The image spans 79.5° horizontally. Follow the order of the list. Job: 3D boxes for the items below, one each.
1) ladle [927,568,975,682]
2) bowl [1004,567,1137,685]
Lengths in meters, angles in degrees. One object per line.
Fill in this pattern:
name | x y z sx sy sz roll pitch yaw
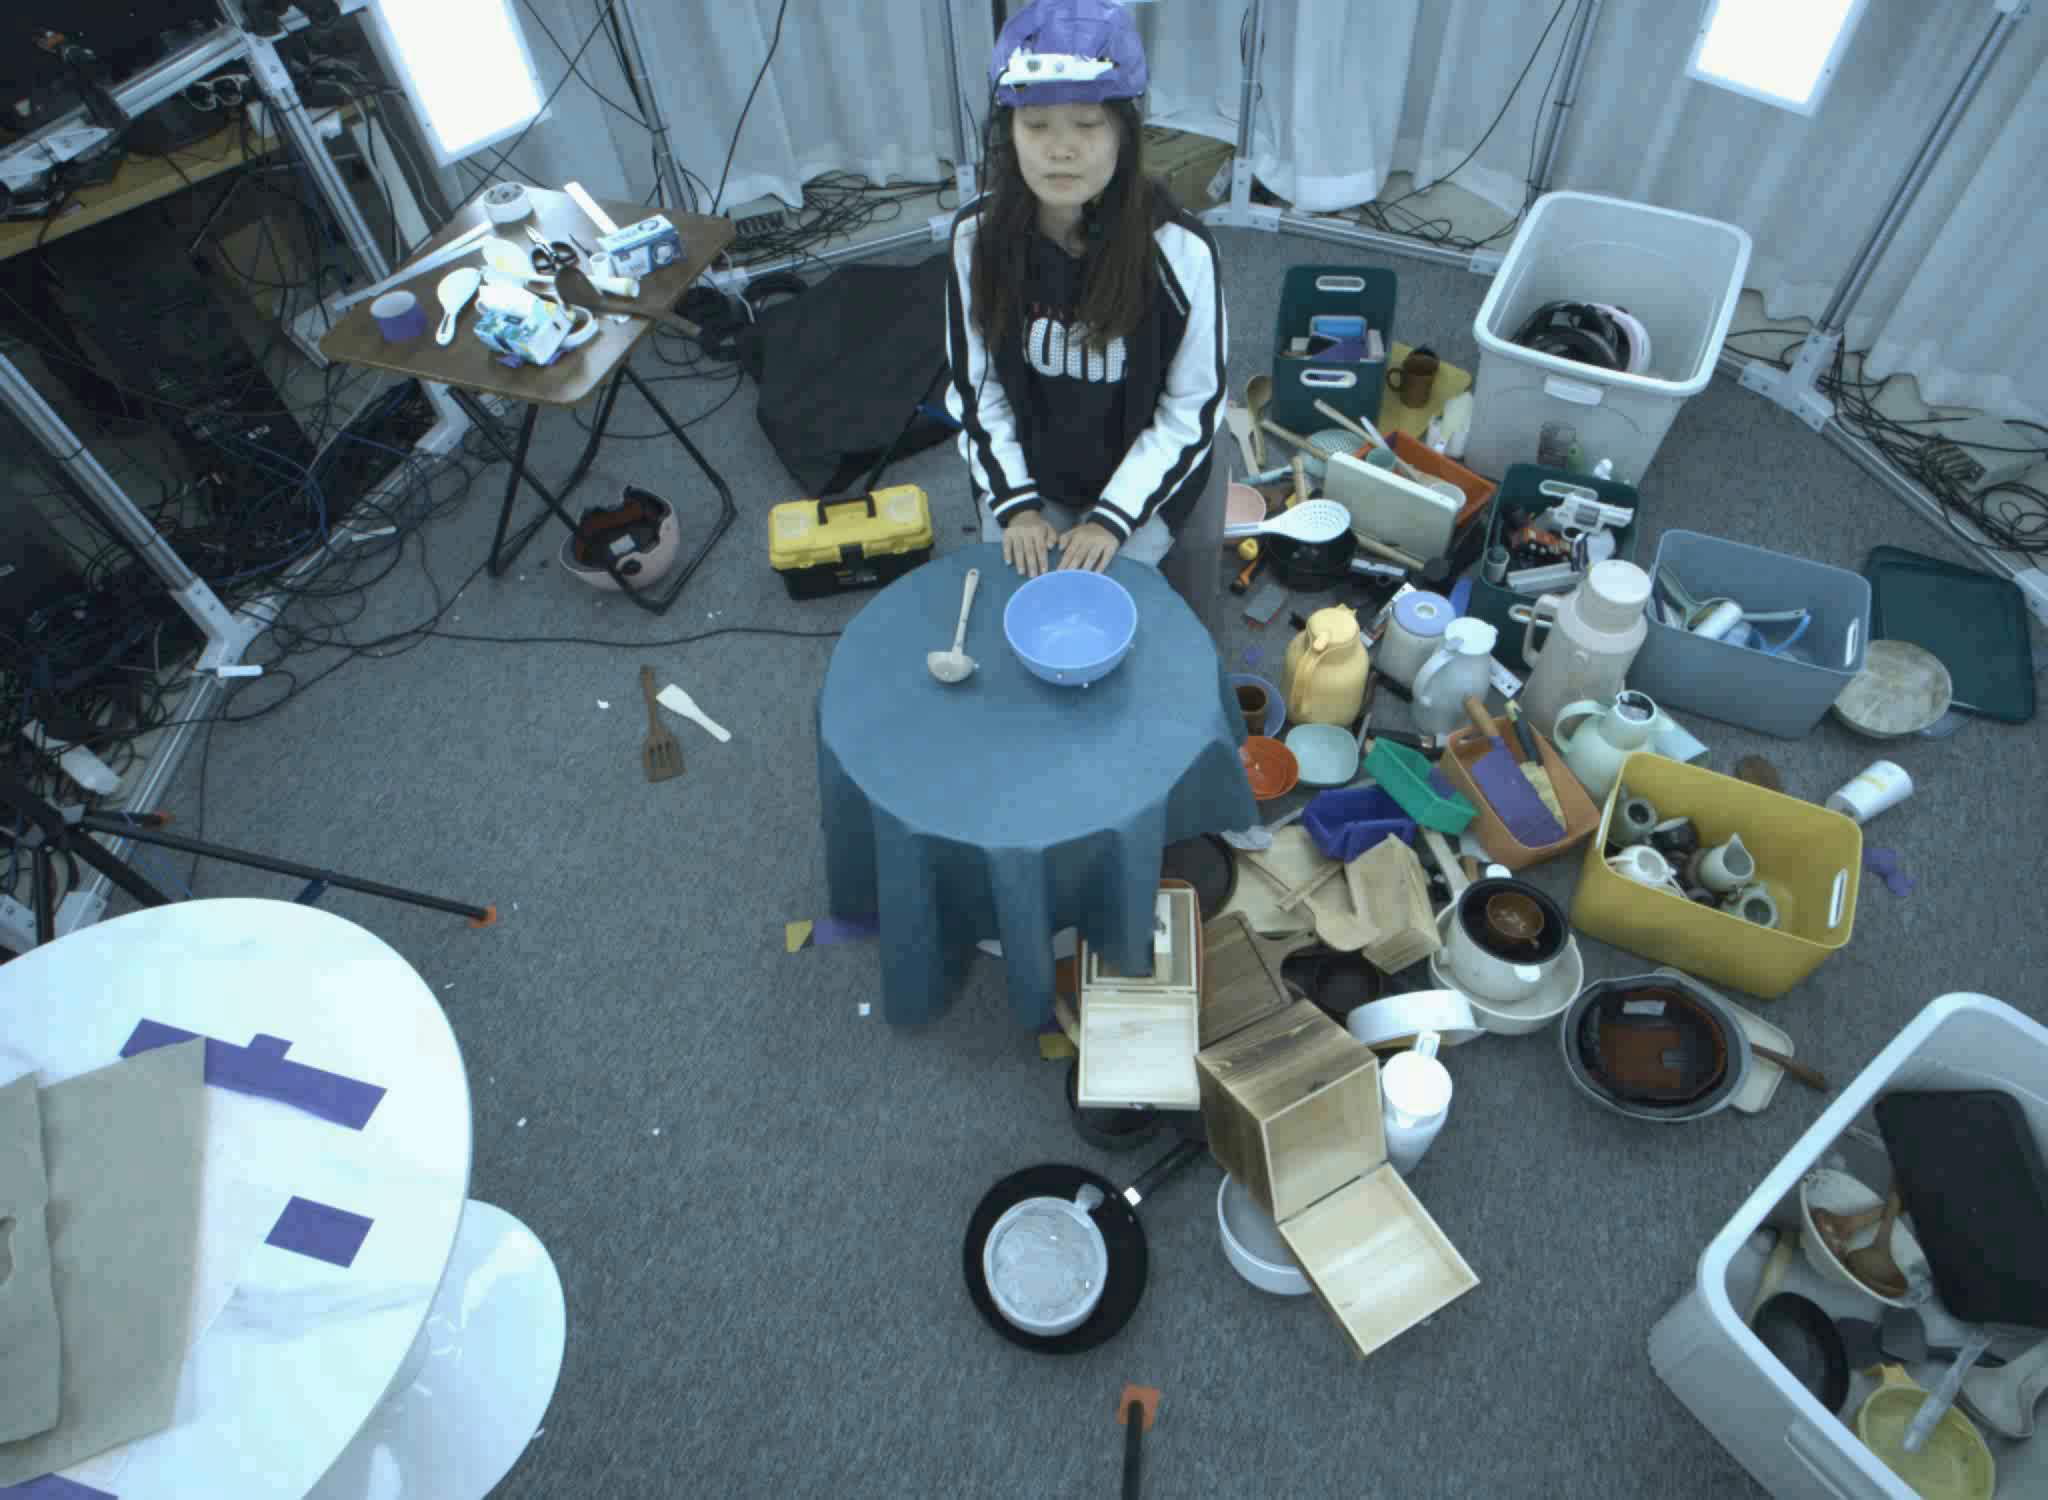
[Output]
ladle | -0.101 -0.215 1.898 0.072 0.073 0.252 4 55 4
bowl | 0.071 -0.171 1.846 0.196 0.096 0.194 0 58 2
